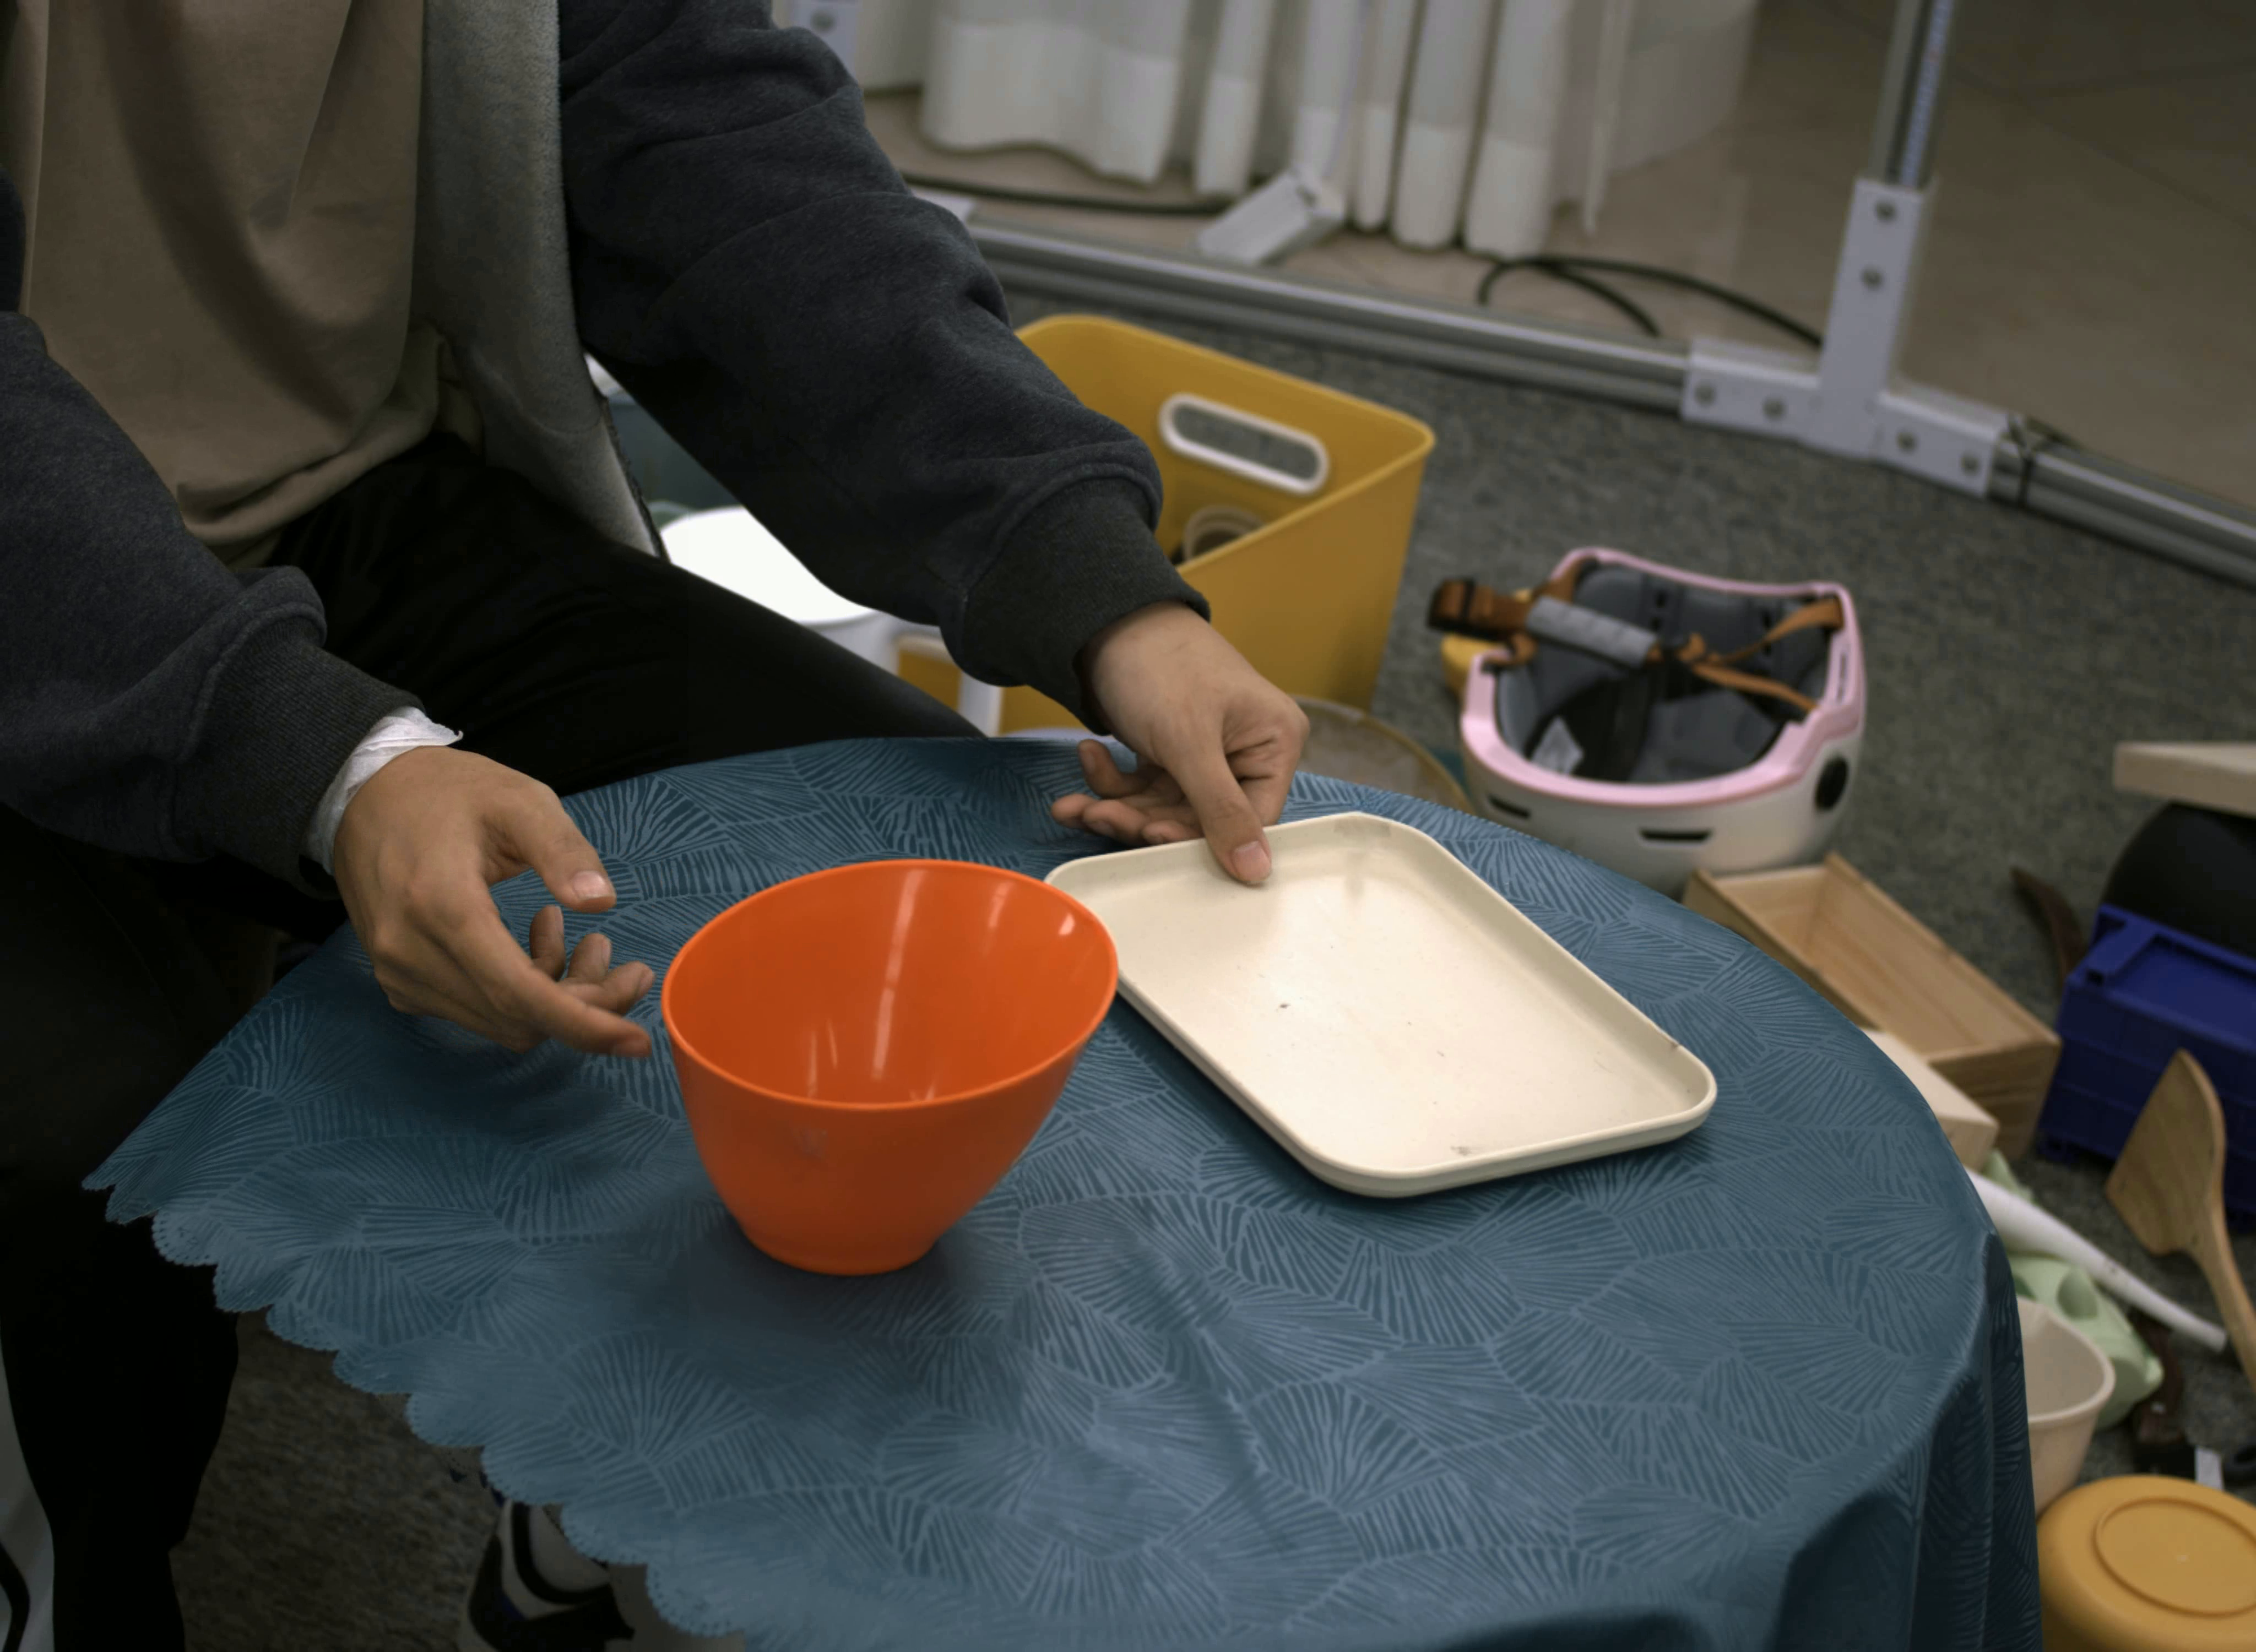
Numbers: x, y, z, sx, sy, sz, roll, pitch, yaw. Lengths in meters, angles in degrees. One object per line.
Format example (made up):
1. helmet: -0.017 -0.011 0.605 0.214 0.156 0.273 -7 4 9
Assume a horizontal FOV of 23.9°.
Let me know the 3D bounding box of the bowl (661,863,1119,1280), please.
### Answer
1. bowl: -0.081 0.087 1.744 0.147 0.104 0.149 6 27 -3

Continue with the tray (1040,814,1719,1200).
1. tray: 0.087 0.064 1.919 0.170 0.017 0.242 -10 31 -28
